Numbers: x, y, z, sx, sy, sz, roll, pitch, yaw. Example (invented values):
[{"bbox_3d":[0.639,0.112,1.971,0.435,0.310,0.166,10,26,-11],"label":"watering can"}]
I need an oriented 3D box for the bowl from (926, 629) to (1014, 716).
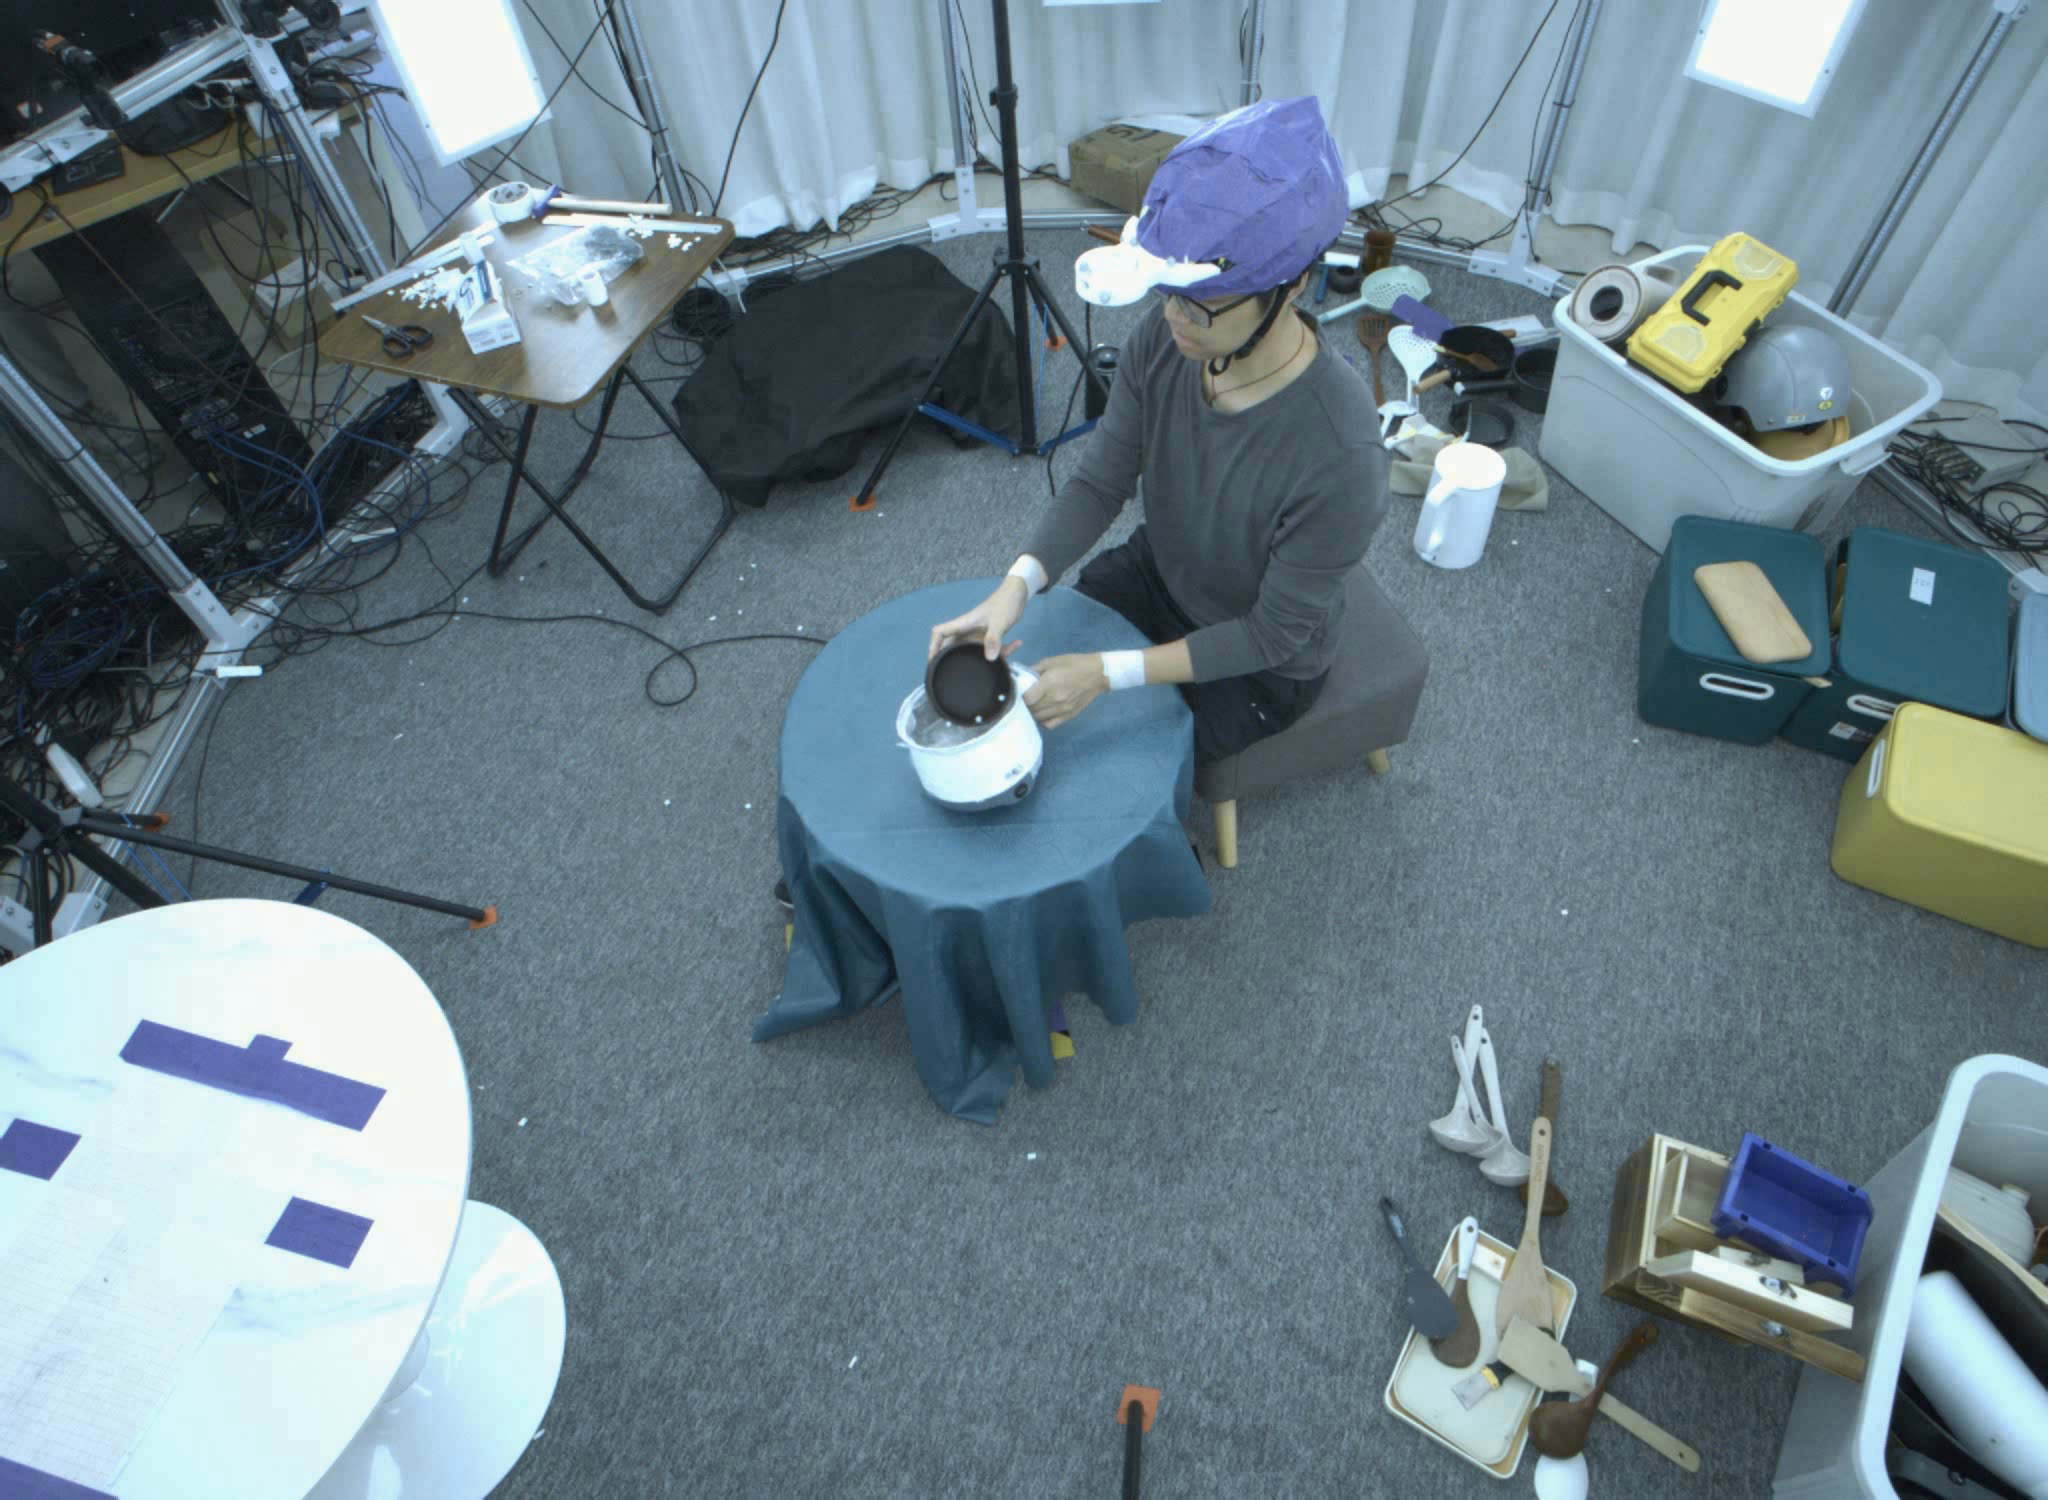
[{"bbox_3d":[-0.080,-0.105,1.680,0.120,0.068,0.118,0,91,-25],"label":"bowl"}]

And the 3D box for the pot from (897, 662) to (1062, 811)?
[{"bbox_3d":[-0.051,-0.030,1.714,0.235,0.139,0.174,-39,43,-21],"label":"pot"}]
